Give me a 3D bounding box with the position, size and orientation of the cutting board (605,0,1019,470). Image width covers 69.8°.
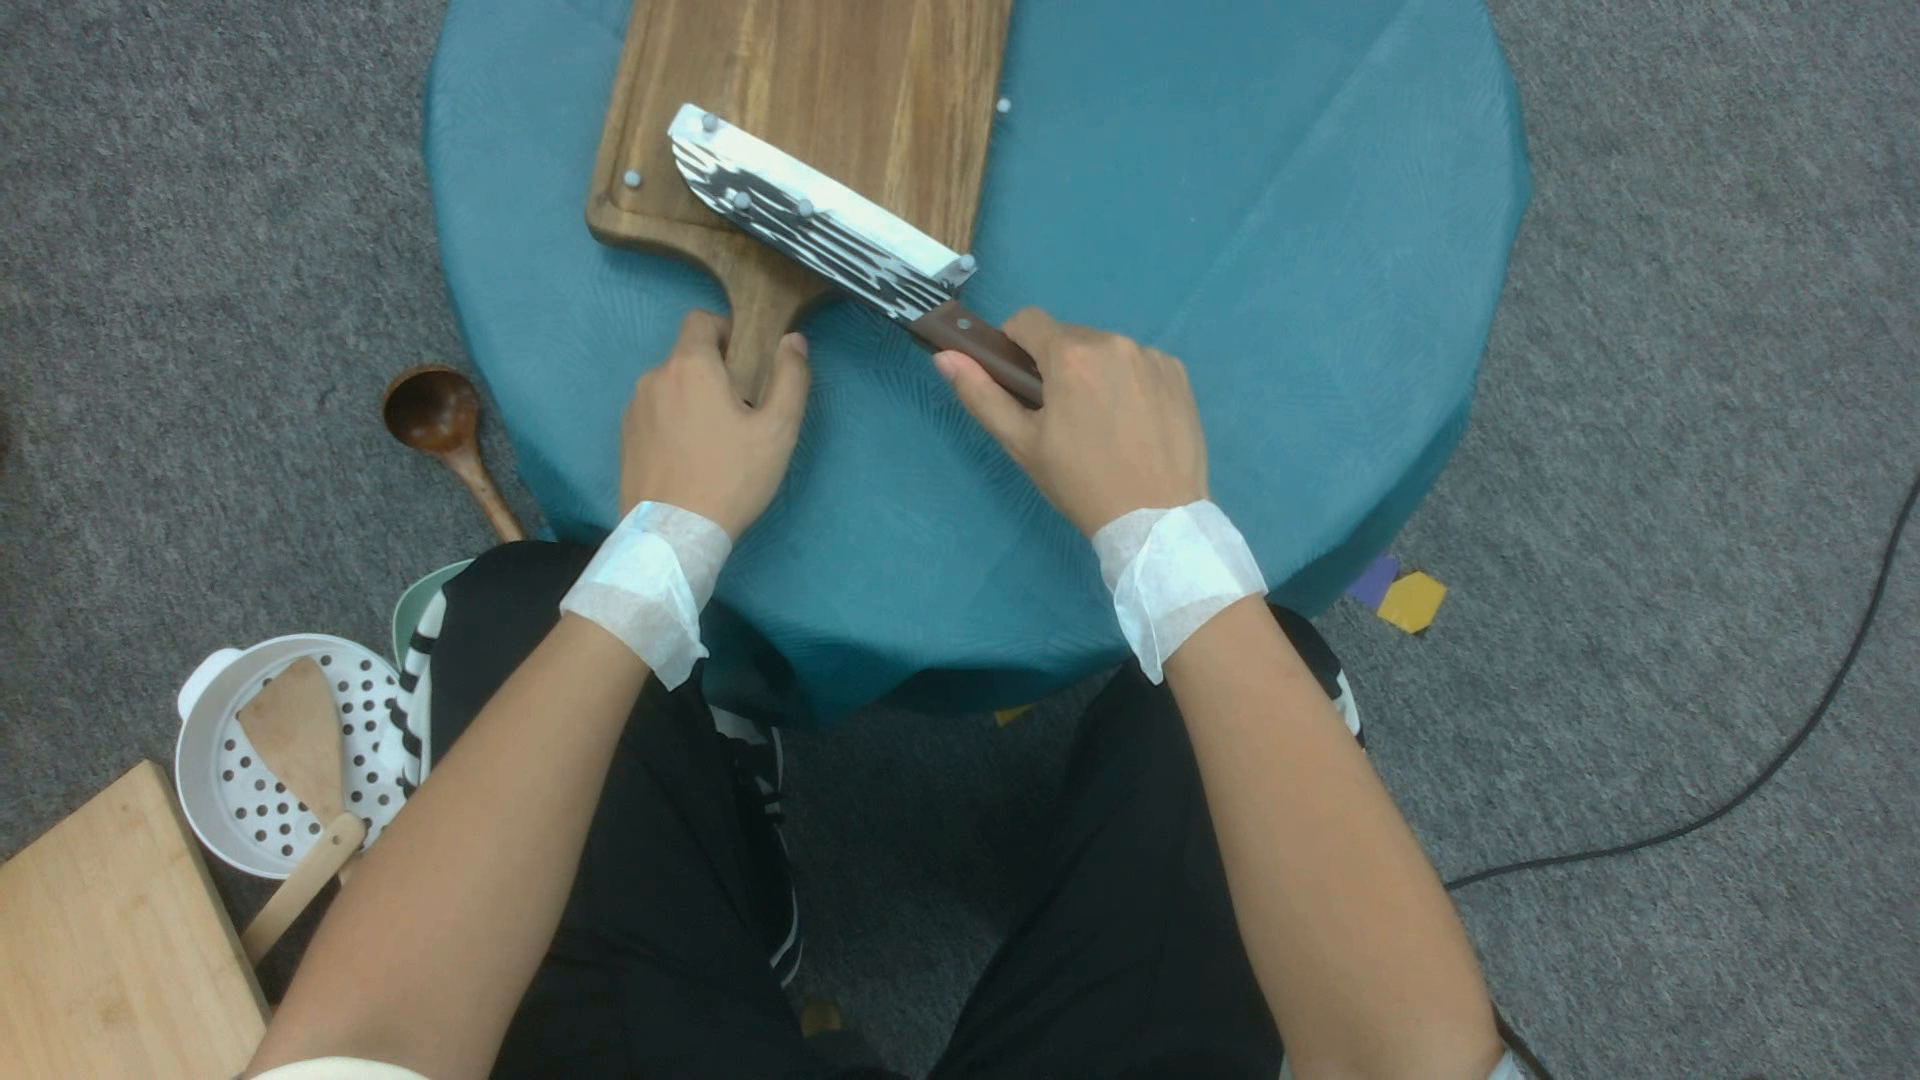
[{"bbox_3d":[-0.081,-0.208,0.744,0.201,0.023,0.353,9,76,-1],"label":"cutting board"}]

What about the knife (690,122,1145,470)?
[{"bbox_3d":[-0.025,-0.131,0.700,0.299,0.024,0.068,33,50,10],"label":"knife"}]
